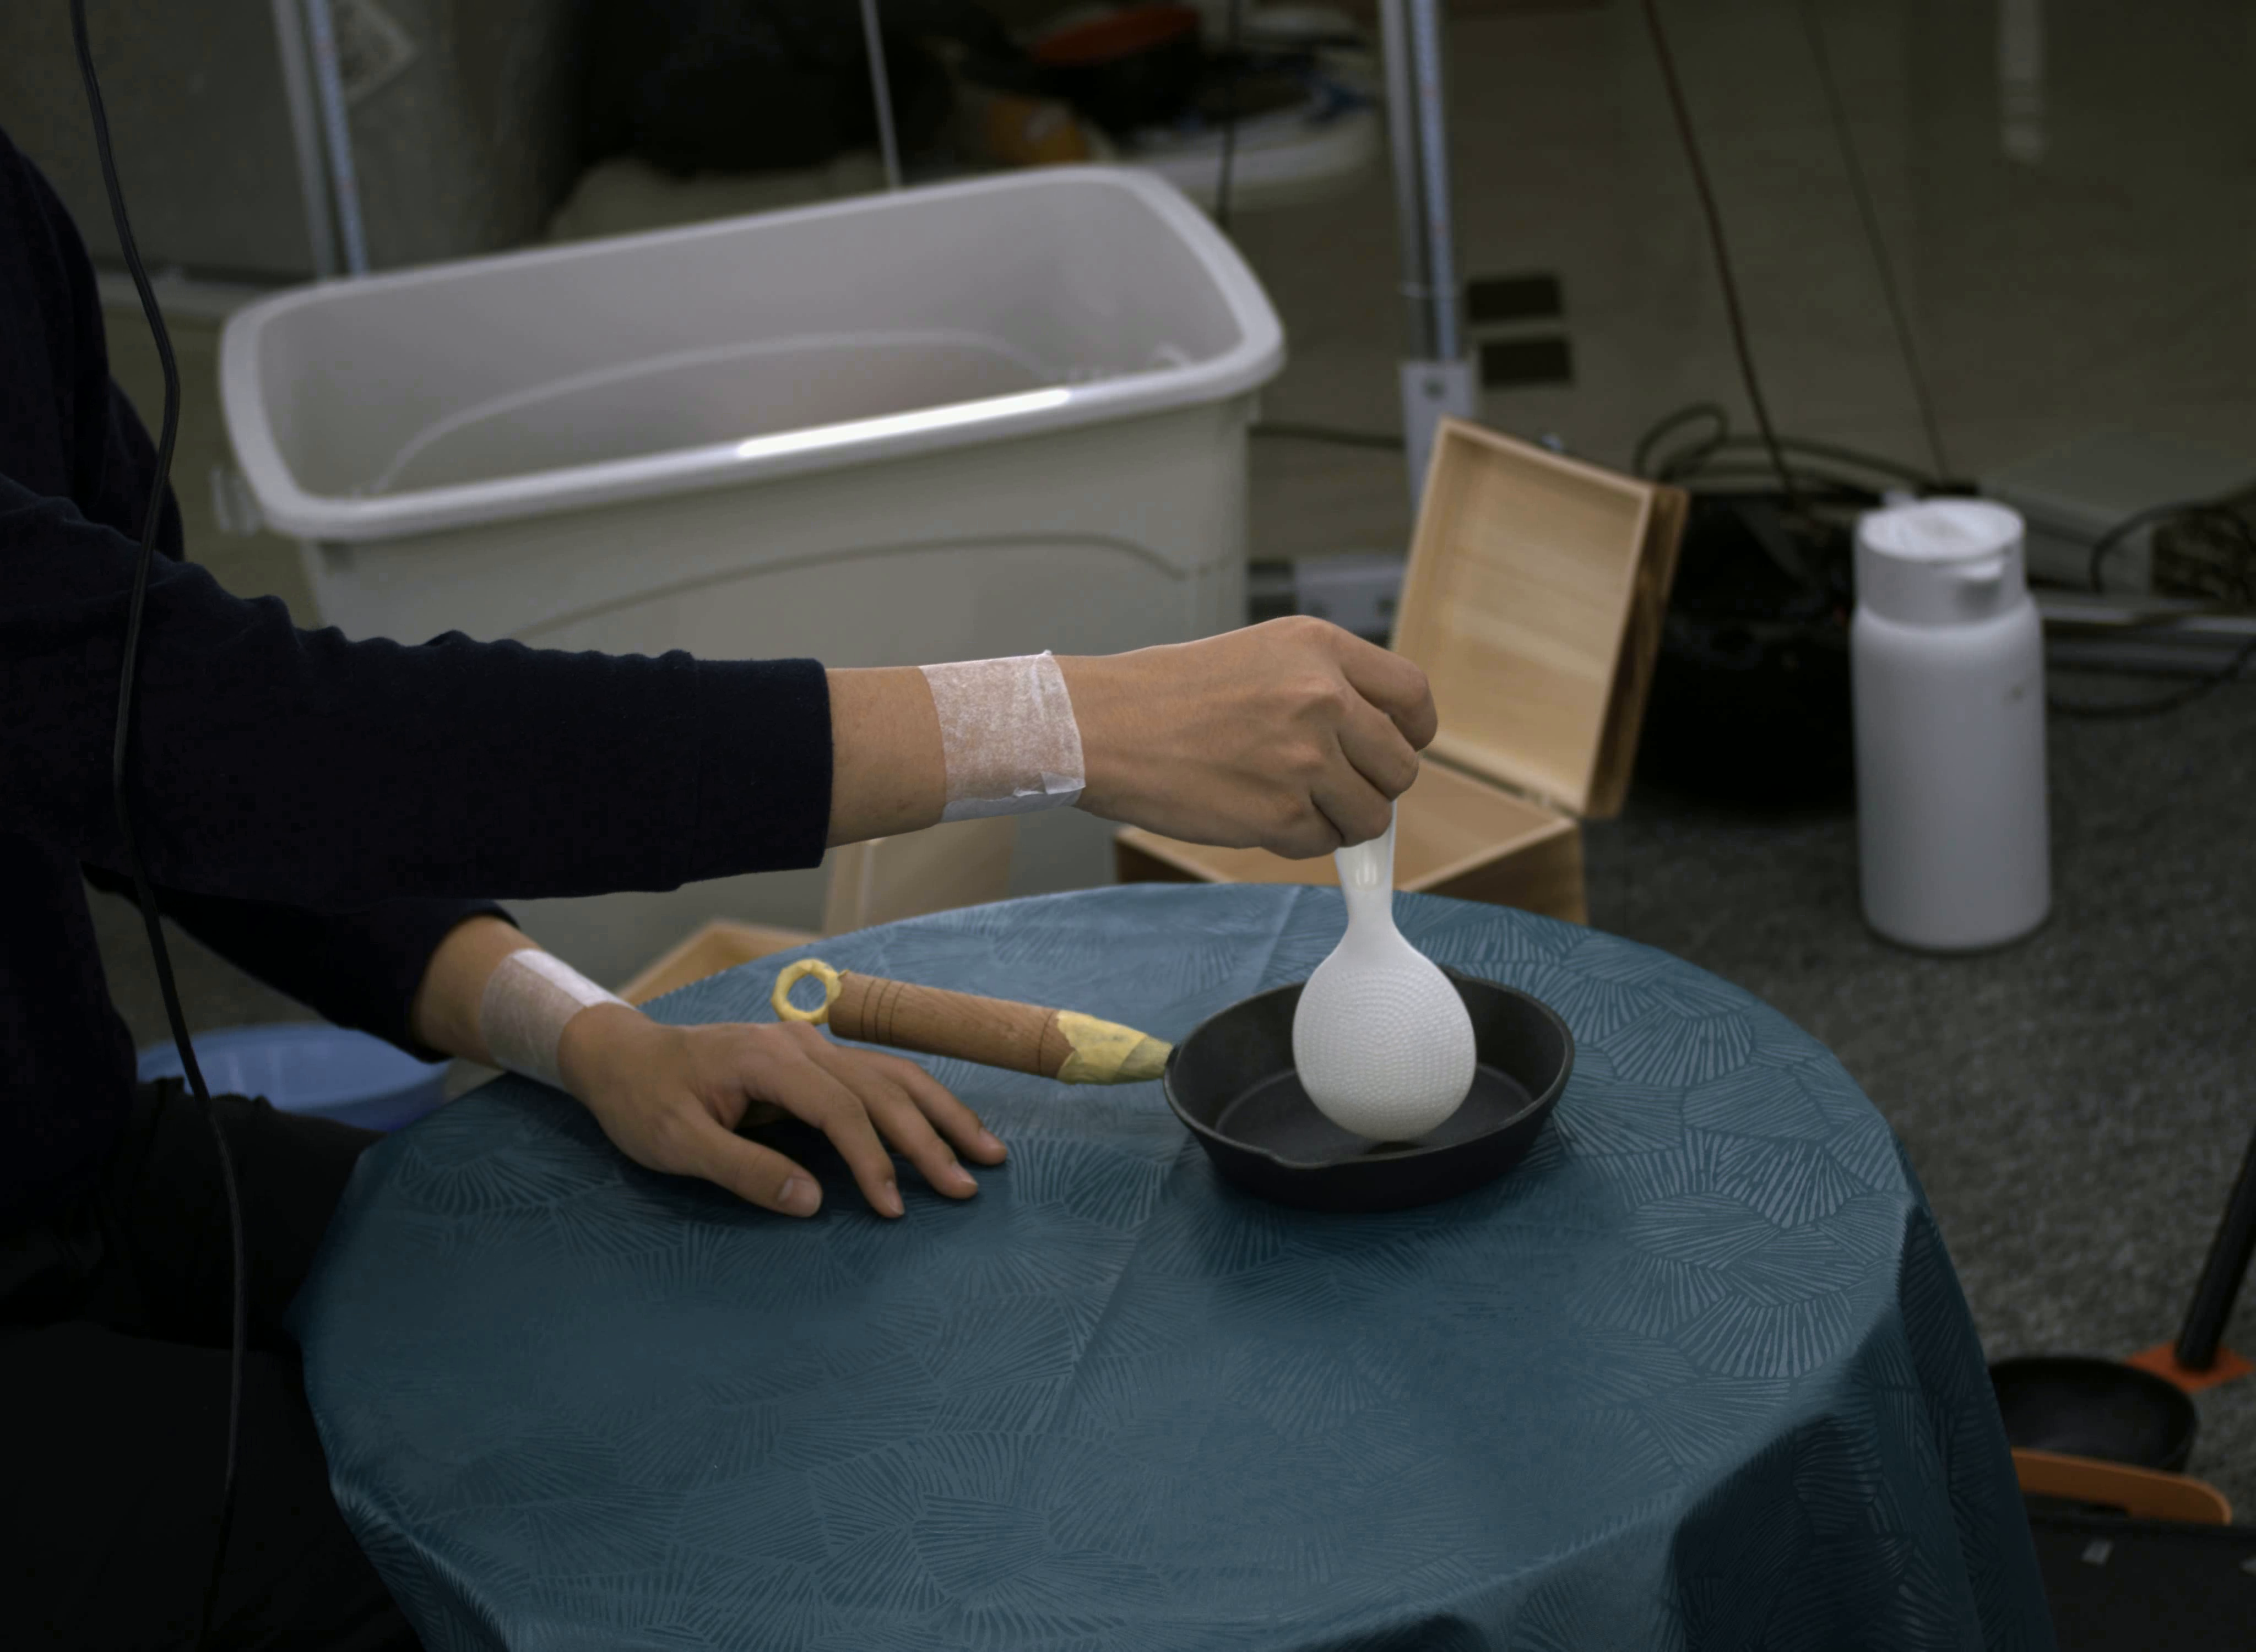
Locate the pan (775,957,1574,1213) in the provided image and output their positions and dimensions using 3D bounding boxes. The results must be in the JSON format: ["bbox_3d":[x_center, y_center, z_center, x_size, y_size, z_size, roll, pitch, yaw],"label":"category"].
[{"bbox_3d":[0.014,0.090,2.188,0.323,0.050,0.166,6,27,22],"label":"pan"}]

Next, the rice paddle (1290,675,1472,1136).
[{"bbox_3d":[0.089,0.035,2.095,0.068,0.209,0.029,-1,39,8],"label":"rice paddle"}]
